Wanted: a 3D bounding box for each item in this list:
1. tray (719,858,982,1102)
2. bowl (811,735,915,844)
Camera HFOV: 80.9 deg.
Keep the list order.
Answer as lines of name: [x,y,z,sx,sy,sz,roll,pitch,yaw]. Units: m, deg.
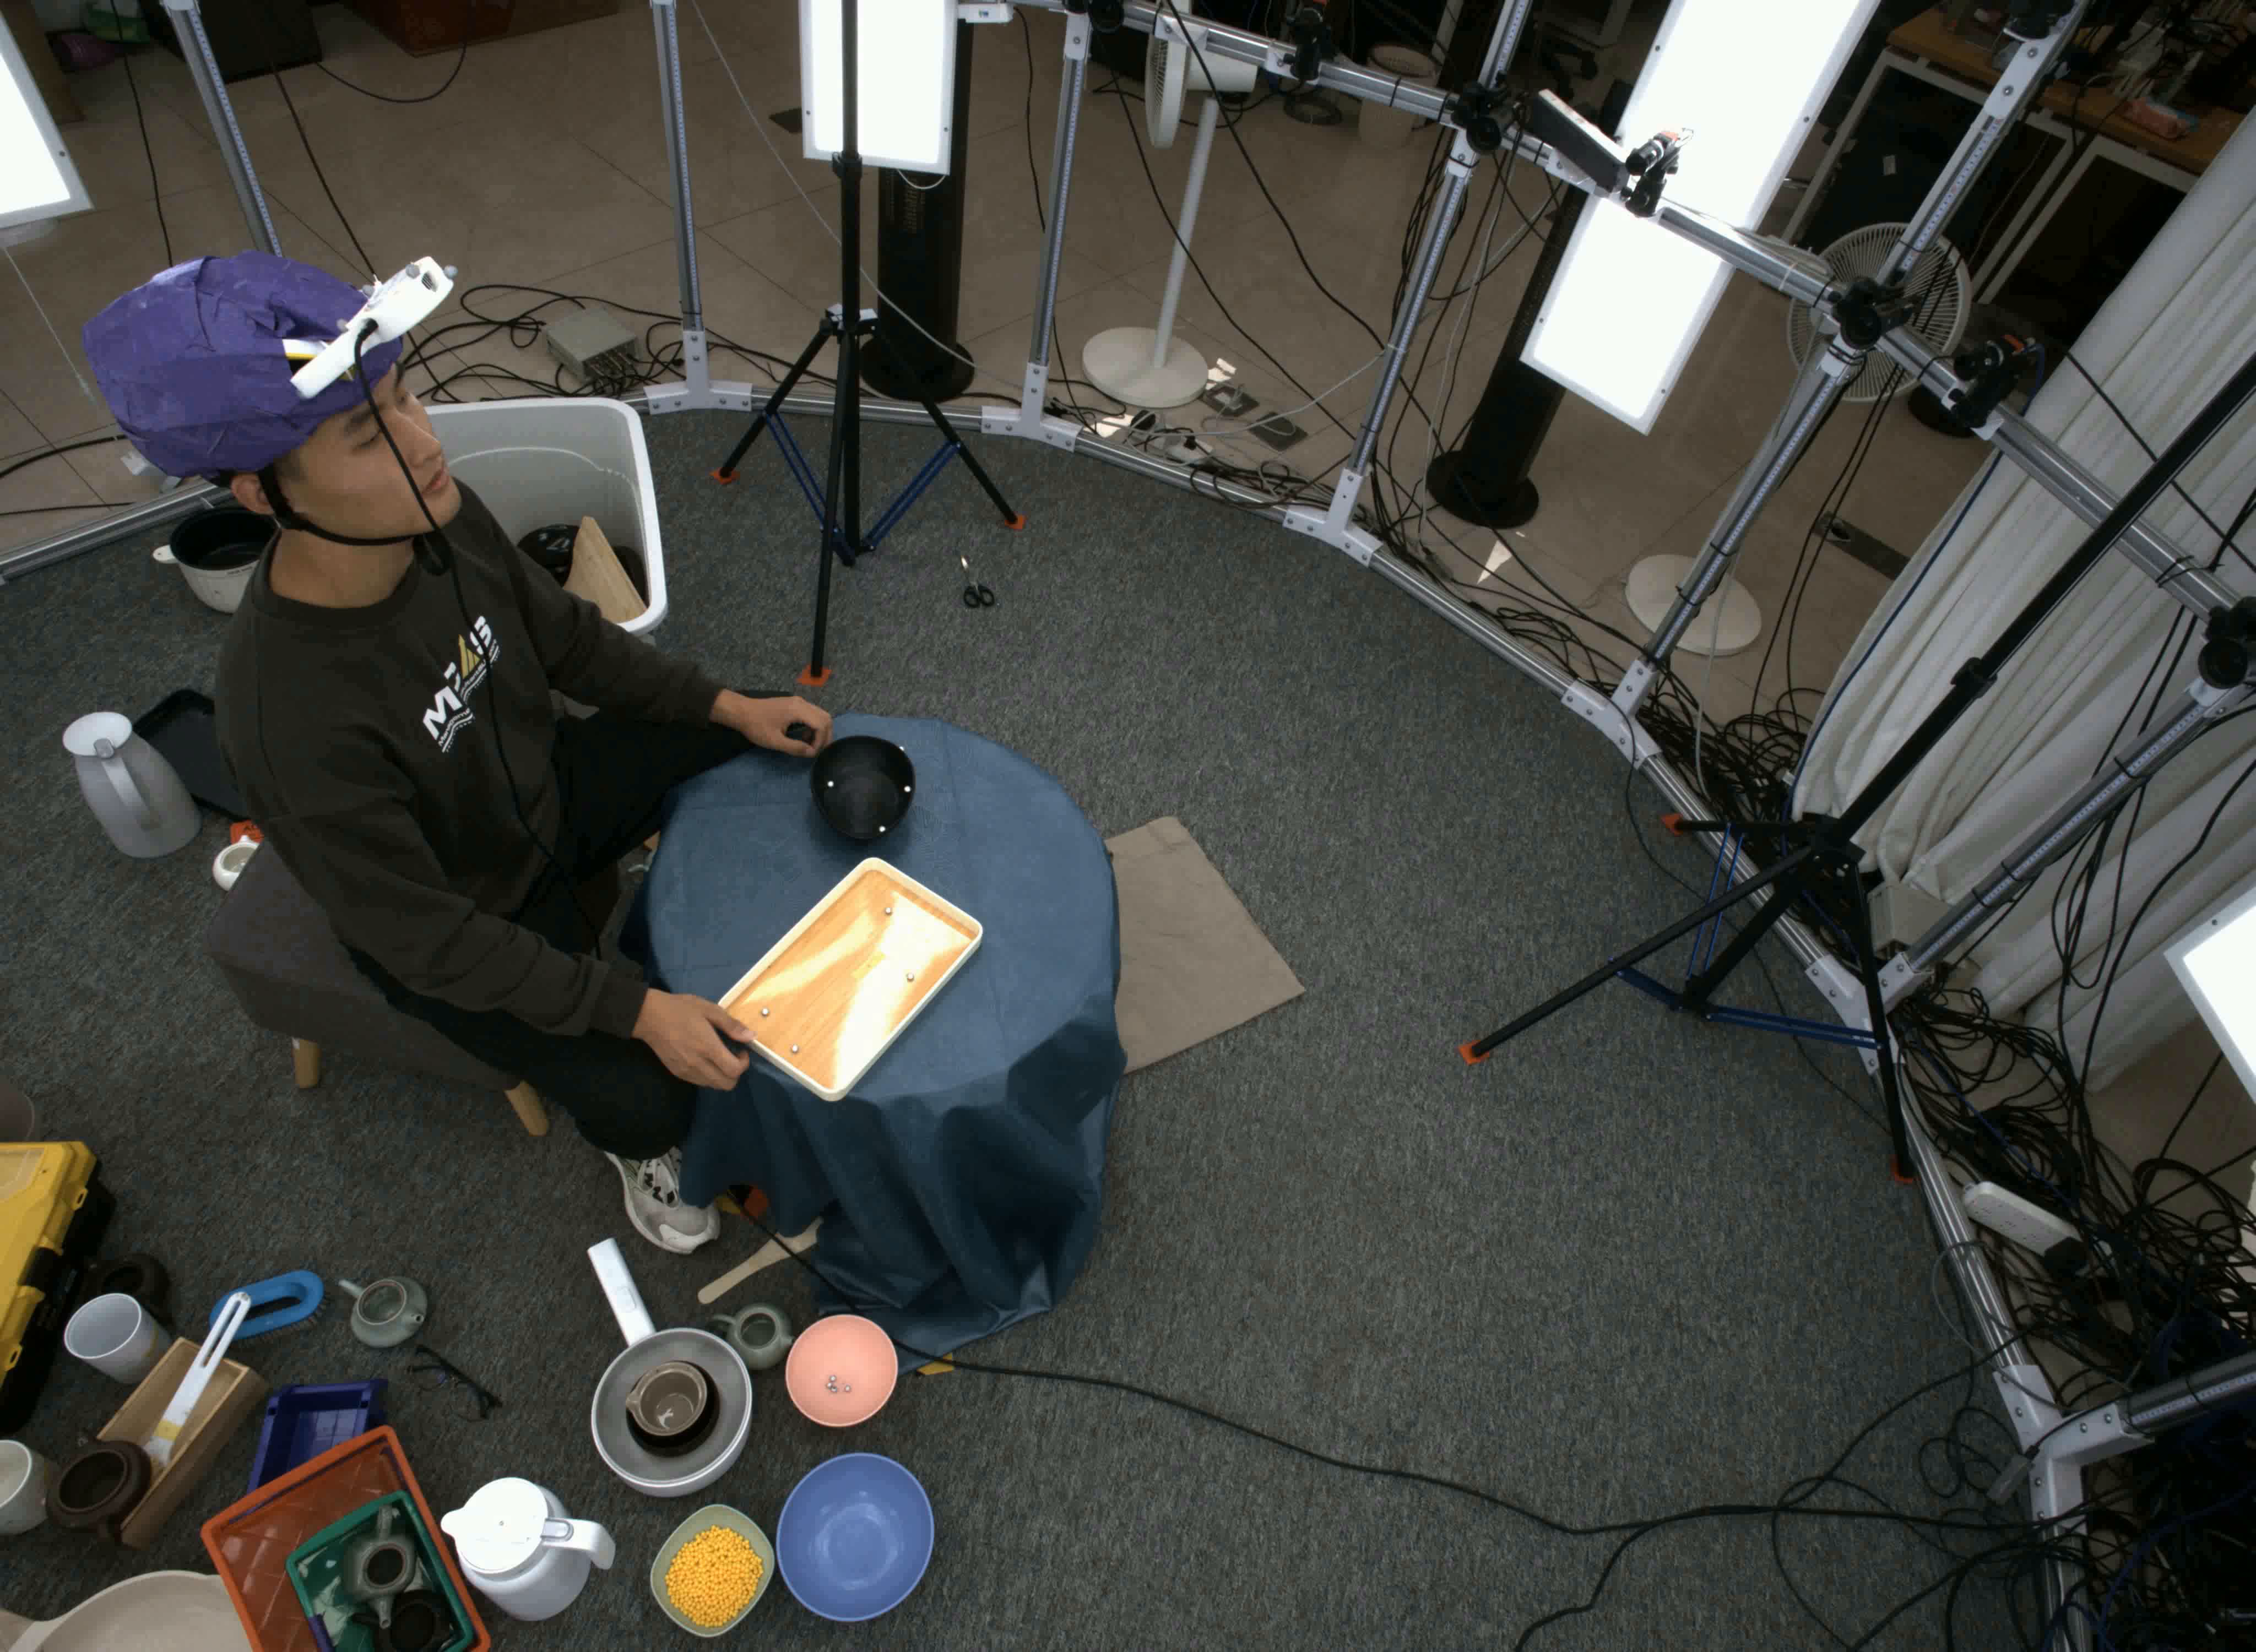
tray: [-0.337,0.180,1.605,0.188,0.028,0.299,32,53,11]
bowl: [-0.354,-0.041,1.743,0.137,0.068,0.166,-4,56,-14]
